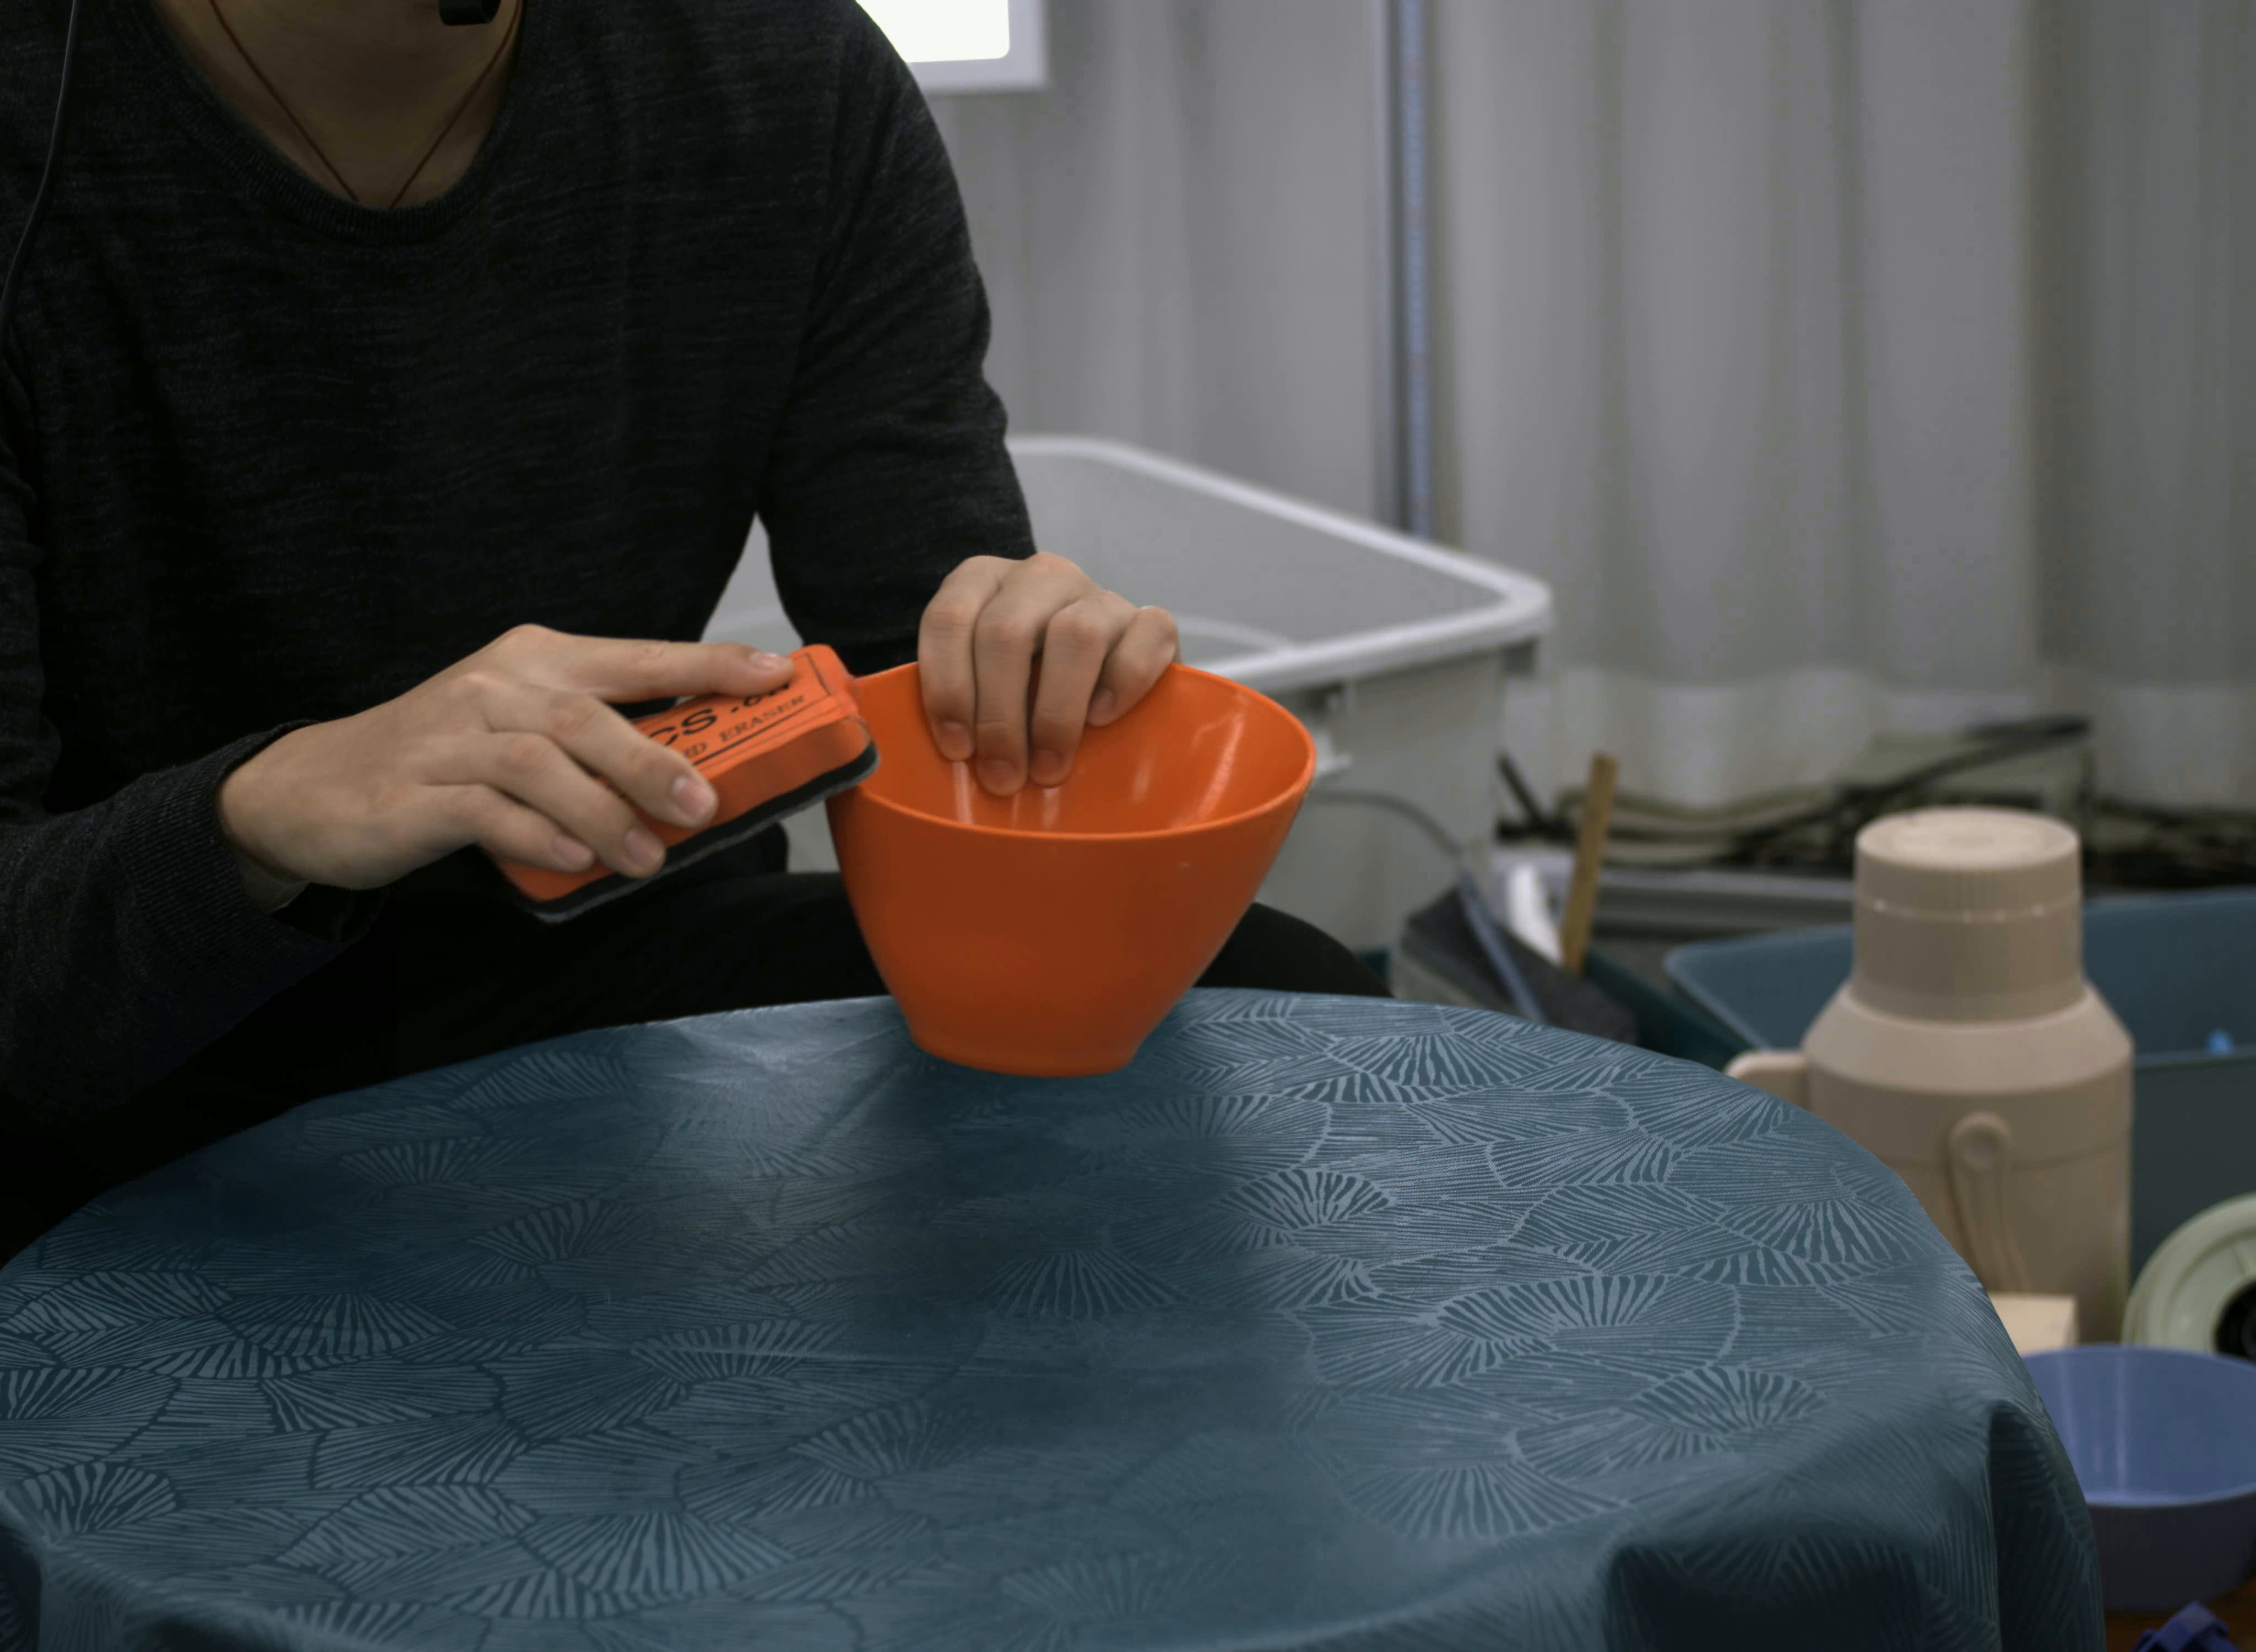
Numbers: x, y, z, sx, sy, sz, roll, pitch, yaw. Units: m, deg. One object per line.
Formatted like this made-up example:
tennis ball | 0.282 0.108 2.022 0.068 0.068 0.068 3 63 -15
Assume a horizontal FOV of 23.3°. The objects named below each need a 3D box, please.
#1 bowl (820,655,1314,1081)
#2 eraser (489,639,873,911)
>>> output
bowl | -0.024 0.015 1.617 0.147 0.104 0.149 7 12 -2
eraser | -0.129 -0.015 1.578 0.108 0.022 0.059 -24 27 -3
